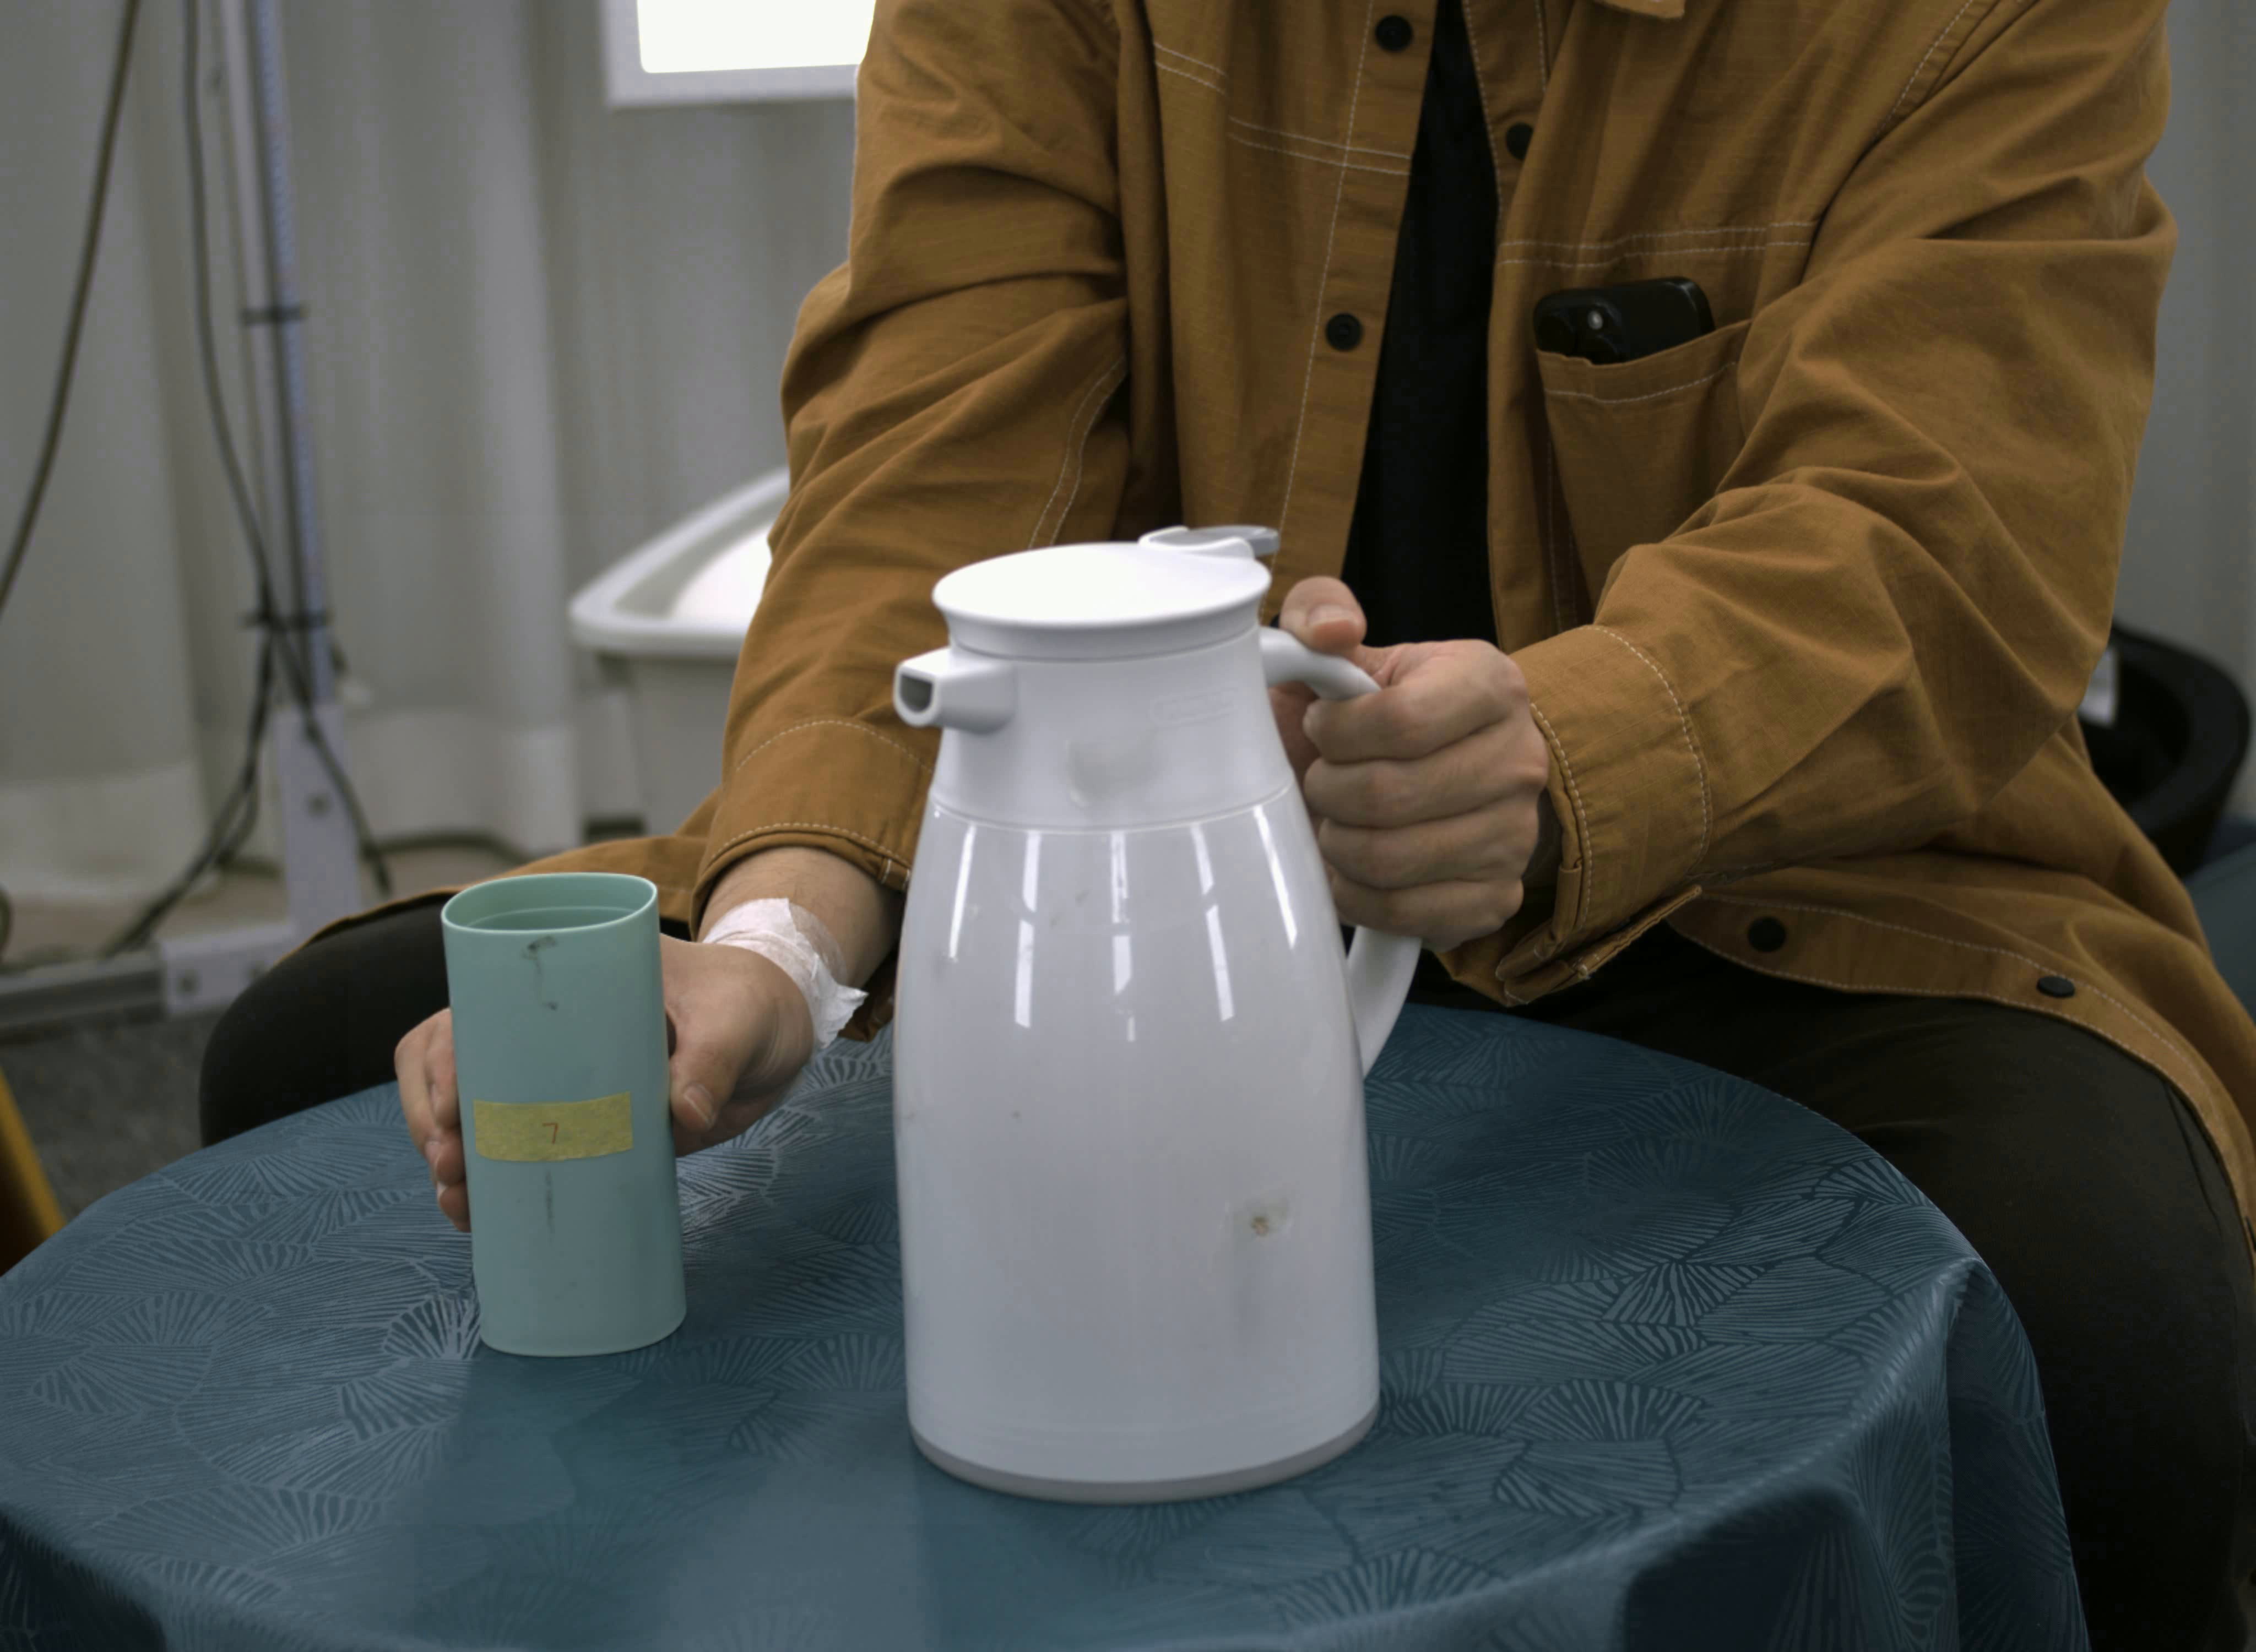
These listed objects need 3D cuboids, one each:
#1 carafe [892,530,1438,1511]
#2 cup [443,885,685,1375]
[{"bbox_3d":[0.014,0.044,1.507,0.167,0.247,0.133,-11,17,-34],"label":"carafe"},{"bbox_3d":[-0.164,0.088,1.608,0.066,0.132,0.067,-2,14,0],"label":"cup"}]
